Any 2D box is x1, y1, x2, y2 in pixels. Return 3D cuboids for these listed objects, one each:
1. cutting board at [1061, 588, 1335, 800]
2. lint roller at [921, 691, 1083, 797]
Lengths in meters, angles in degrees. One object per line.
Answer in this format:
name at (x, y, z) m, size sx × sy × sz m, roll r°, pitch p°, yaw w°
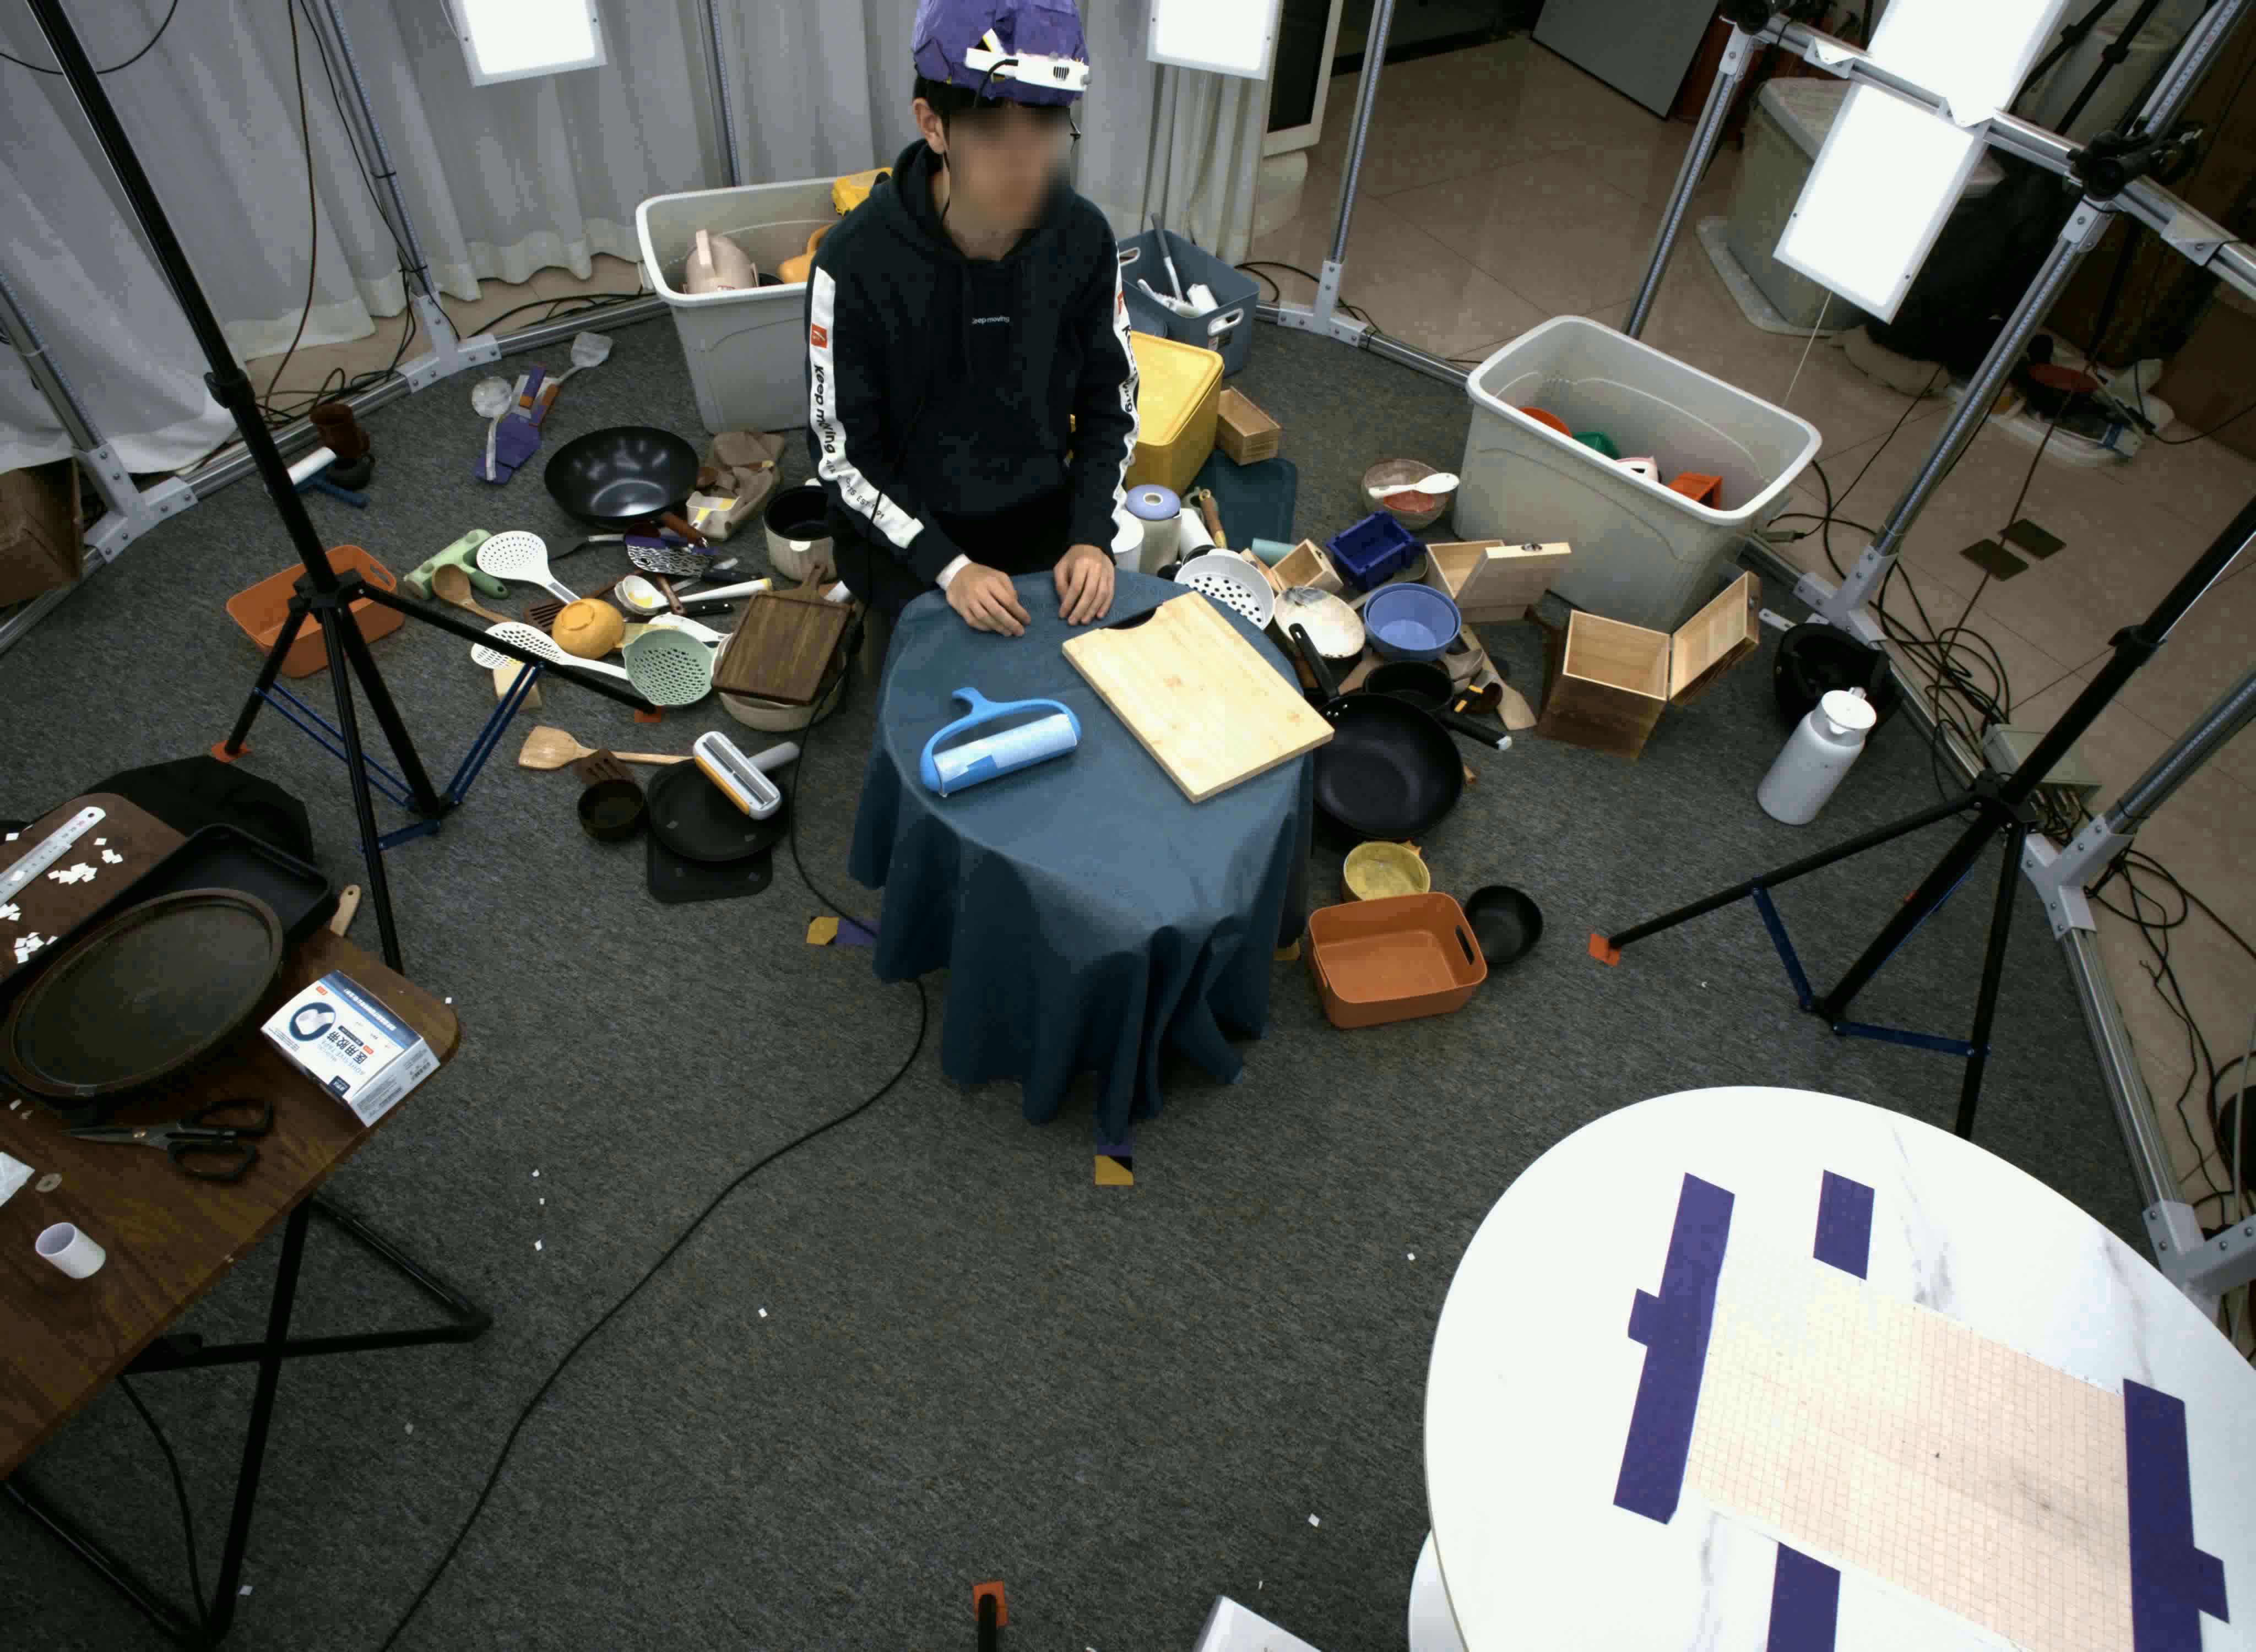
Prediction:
cutting board at (0.094, -0.197, 1.834) m, size 0.252 × 0.023 × 0.355 m, roll -25°, pitch 55°, yaw -23°
lint roller at (-0.195, -0.137, 1.737) m, size 0.229 × 0.066 × 0.184 m, roll -23°, pitch 55°, yaw -20°
